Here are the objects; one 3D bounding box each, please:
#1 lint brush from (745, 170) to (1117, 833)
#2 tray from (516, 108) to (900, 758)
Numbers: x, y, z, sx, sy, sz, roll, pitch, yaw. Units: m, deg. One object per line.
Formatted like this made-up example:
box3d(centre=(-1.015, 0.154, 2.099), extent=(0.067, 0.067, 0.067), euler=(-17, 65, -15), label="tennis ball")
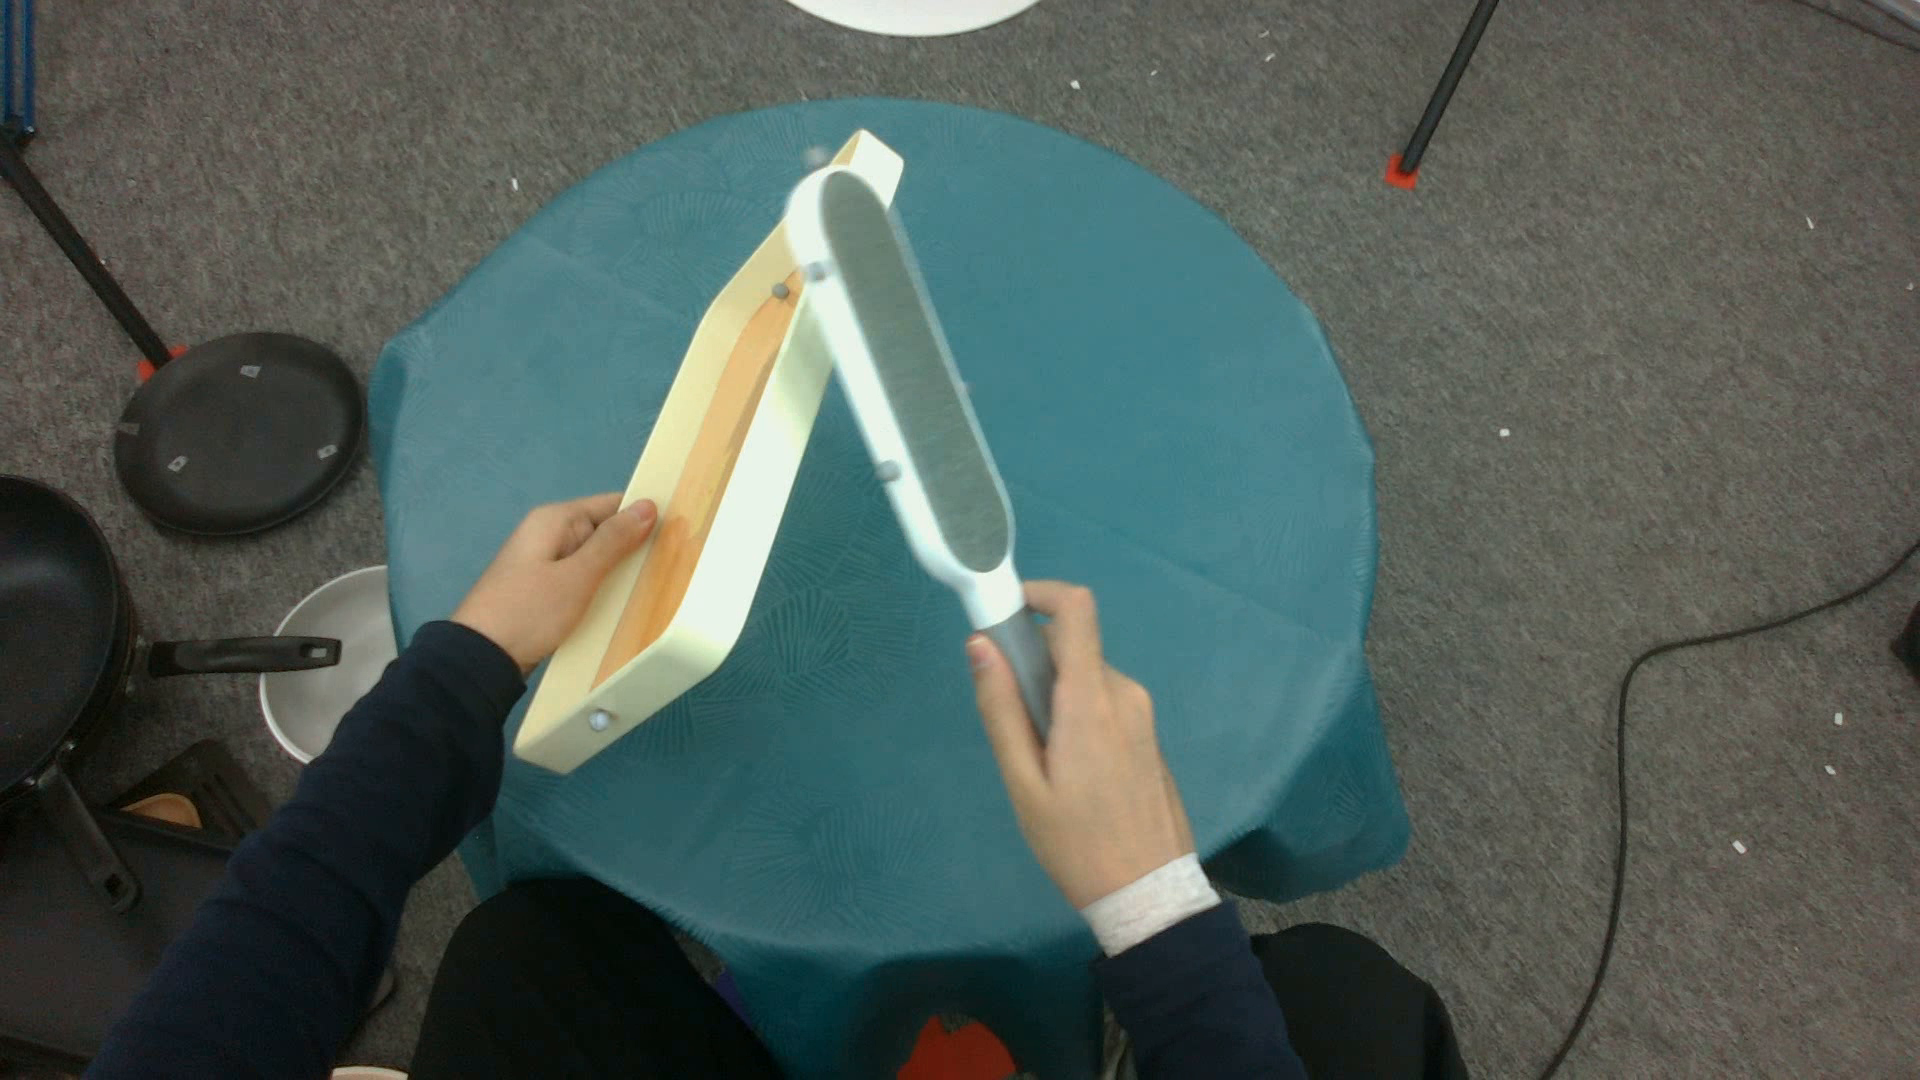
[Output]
box3d(centre=(-0.008, -0.012, 0.577), extent=(0.308, 0.021, 0.060), euler=(63, 33, -6), label="lint brush")
box3d(centre=(-0.117, -0.054, 0.653), extent=(0.027, 0.190, 0.301), euler=(29, 54, -23), label="tray")
